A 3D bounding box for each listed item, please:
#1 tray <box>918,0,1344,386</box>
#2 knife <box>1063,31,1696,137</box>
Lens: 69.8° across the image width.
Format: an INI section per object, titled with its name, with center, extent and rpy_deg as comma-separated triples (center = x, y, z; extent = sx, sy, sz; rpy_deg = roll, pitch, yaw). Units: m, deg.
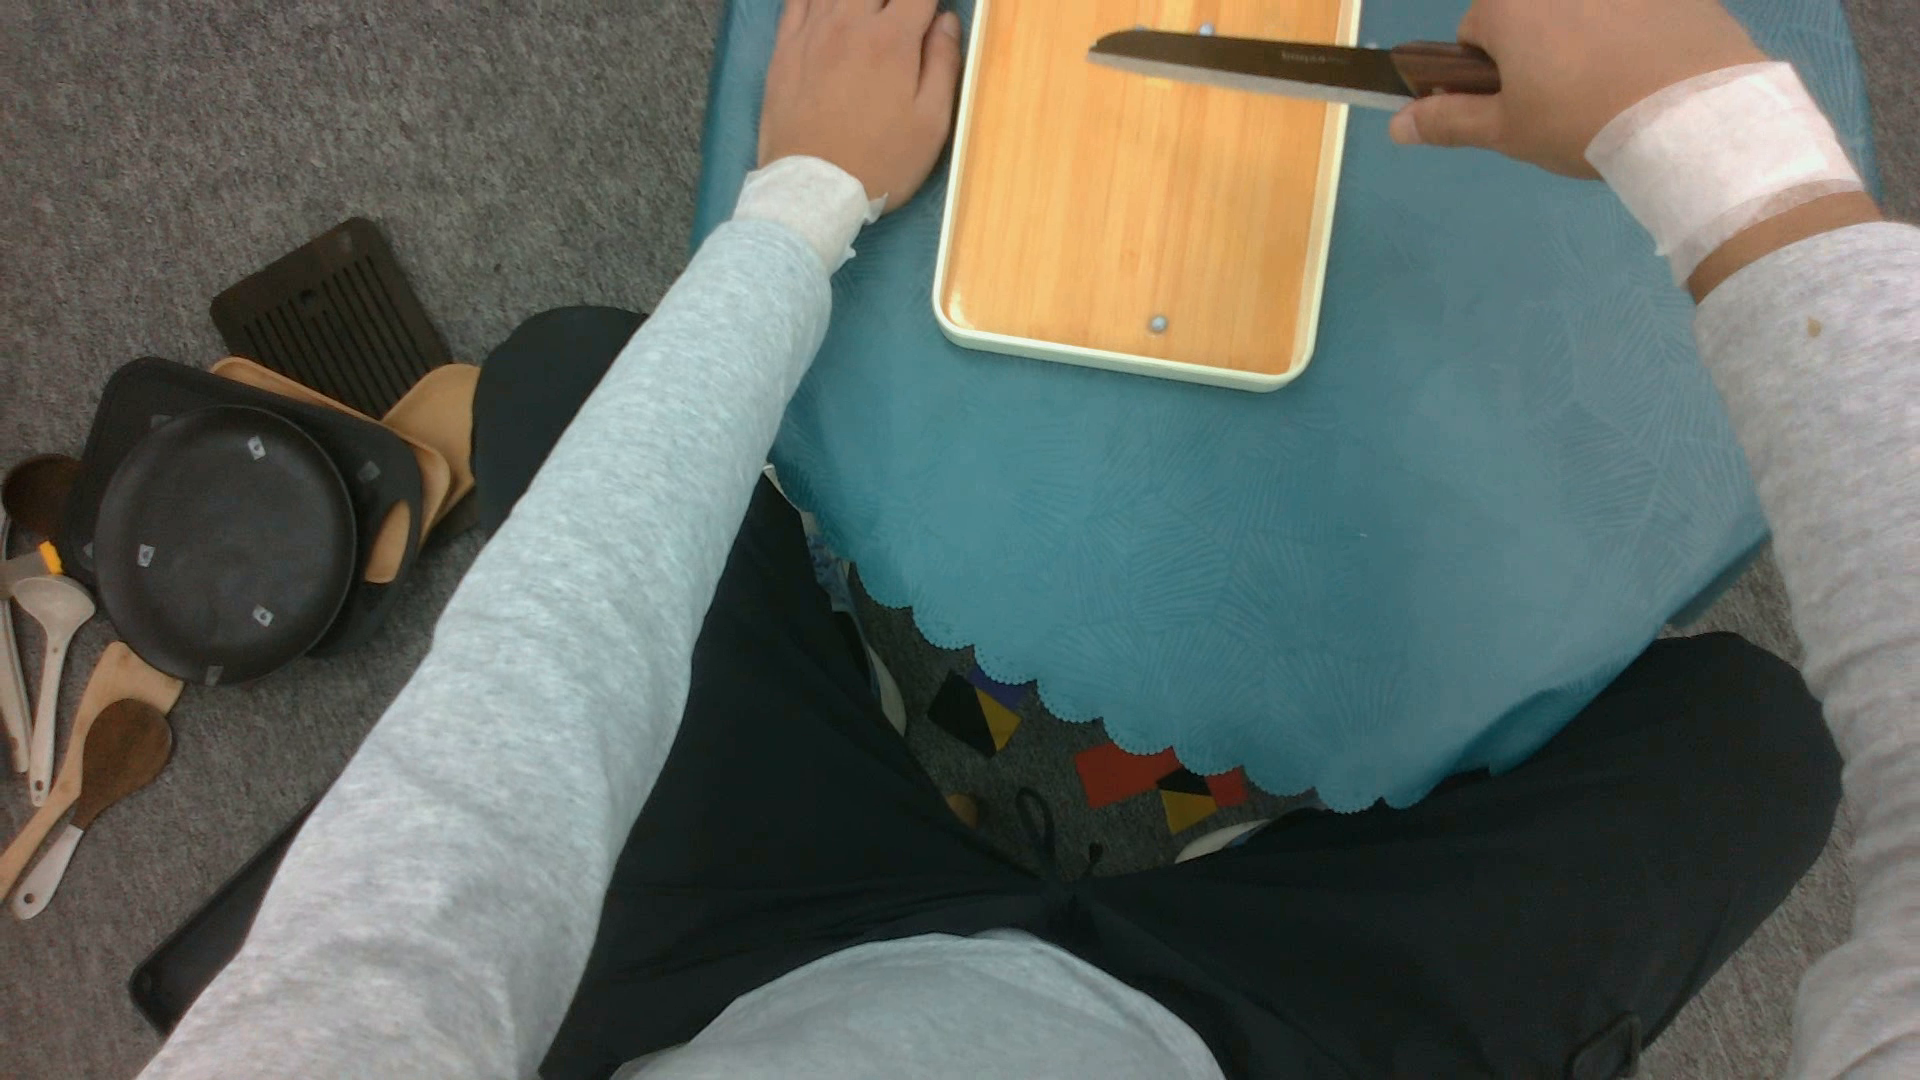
[tray]
center = 0.093, -0.237, 0.706
extent = 0.191, 0.027, 0.300
rpy_deg = 9, 83, 1
[knife]
center = 0.164, -0.201, 0.602
extent = 0.289, 0.050, 0.020
rpy_deg = 18, 80, 34
